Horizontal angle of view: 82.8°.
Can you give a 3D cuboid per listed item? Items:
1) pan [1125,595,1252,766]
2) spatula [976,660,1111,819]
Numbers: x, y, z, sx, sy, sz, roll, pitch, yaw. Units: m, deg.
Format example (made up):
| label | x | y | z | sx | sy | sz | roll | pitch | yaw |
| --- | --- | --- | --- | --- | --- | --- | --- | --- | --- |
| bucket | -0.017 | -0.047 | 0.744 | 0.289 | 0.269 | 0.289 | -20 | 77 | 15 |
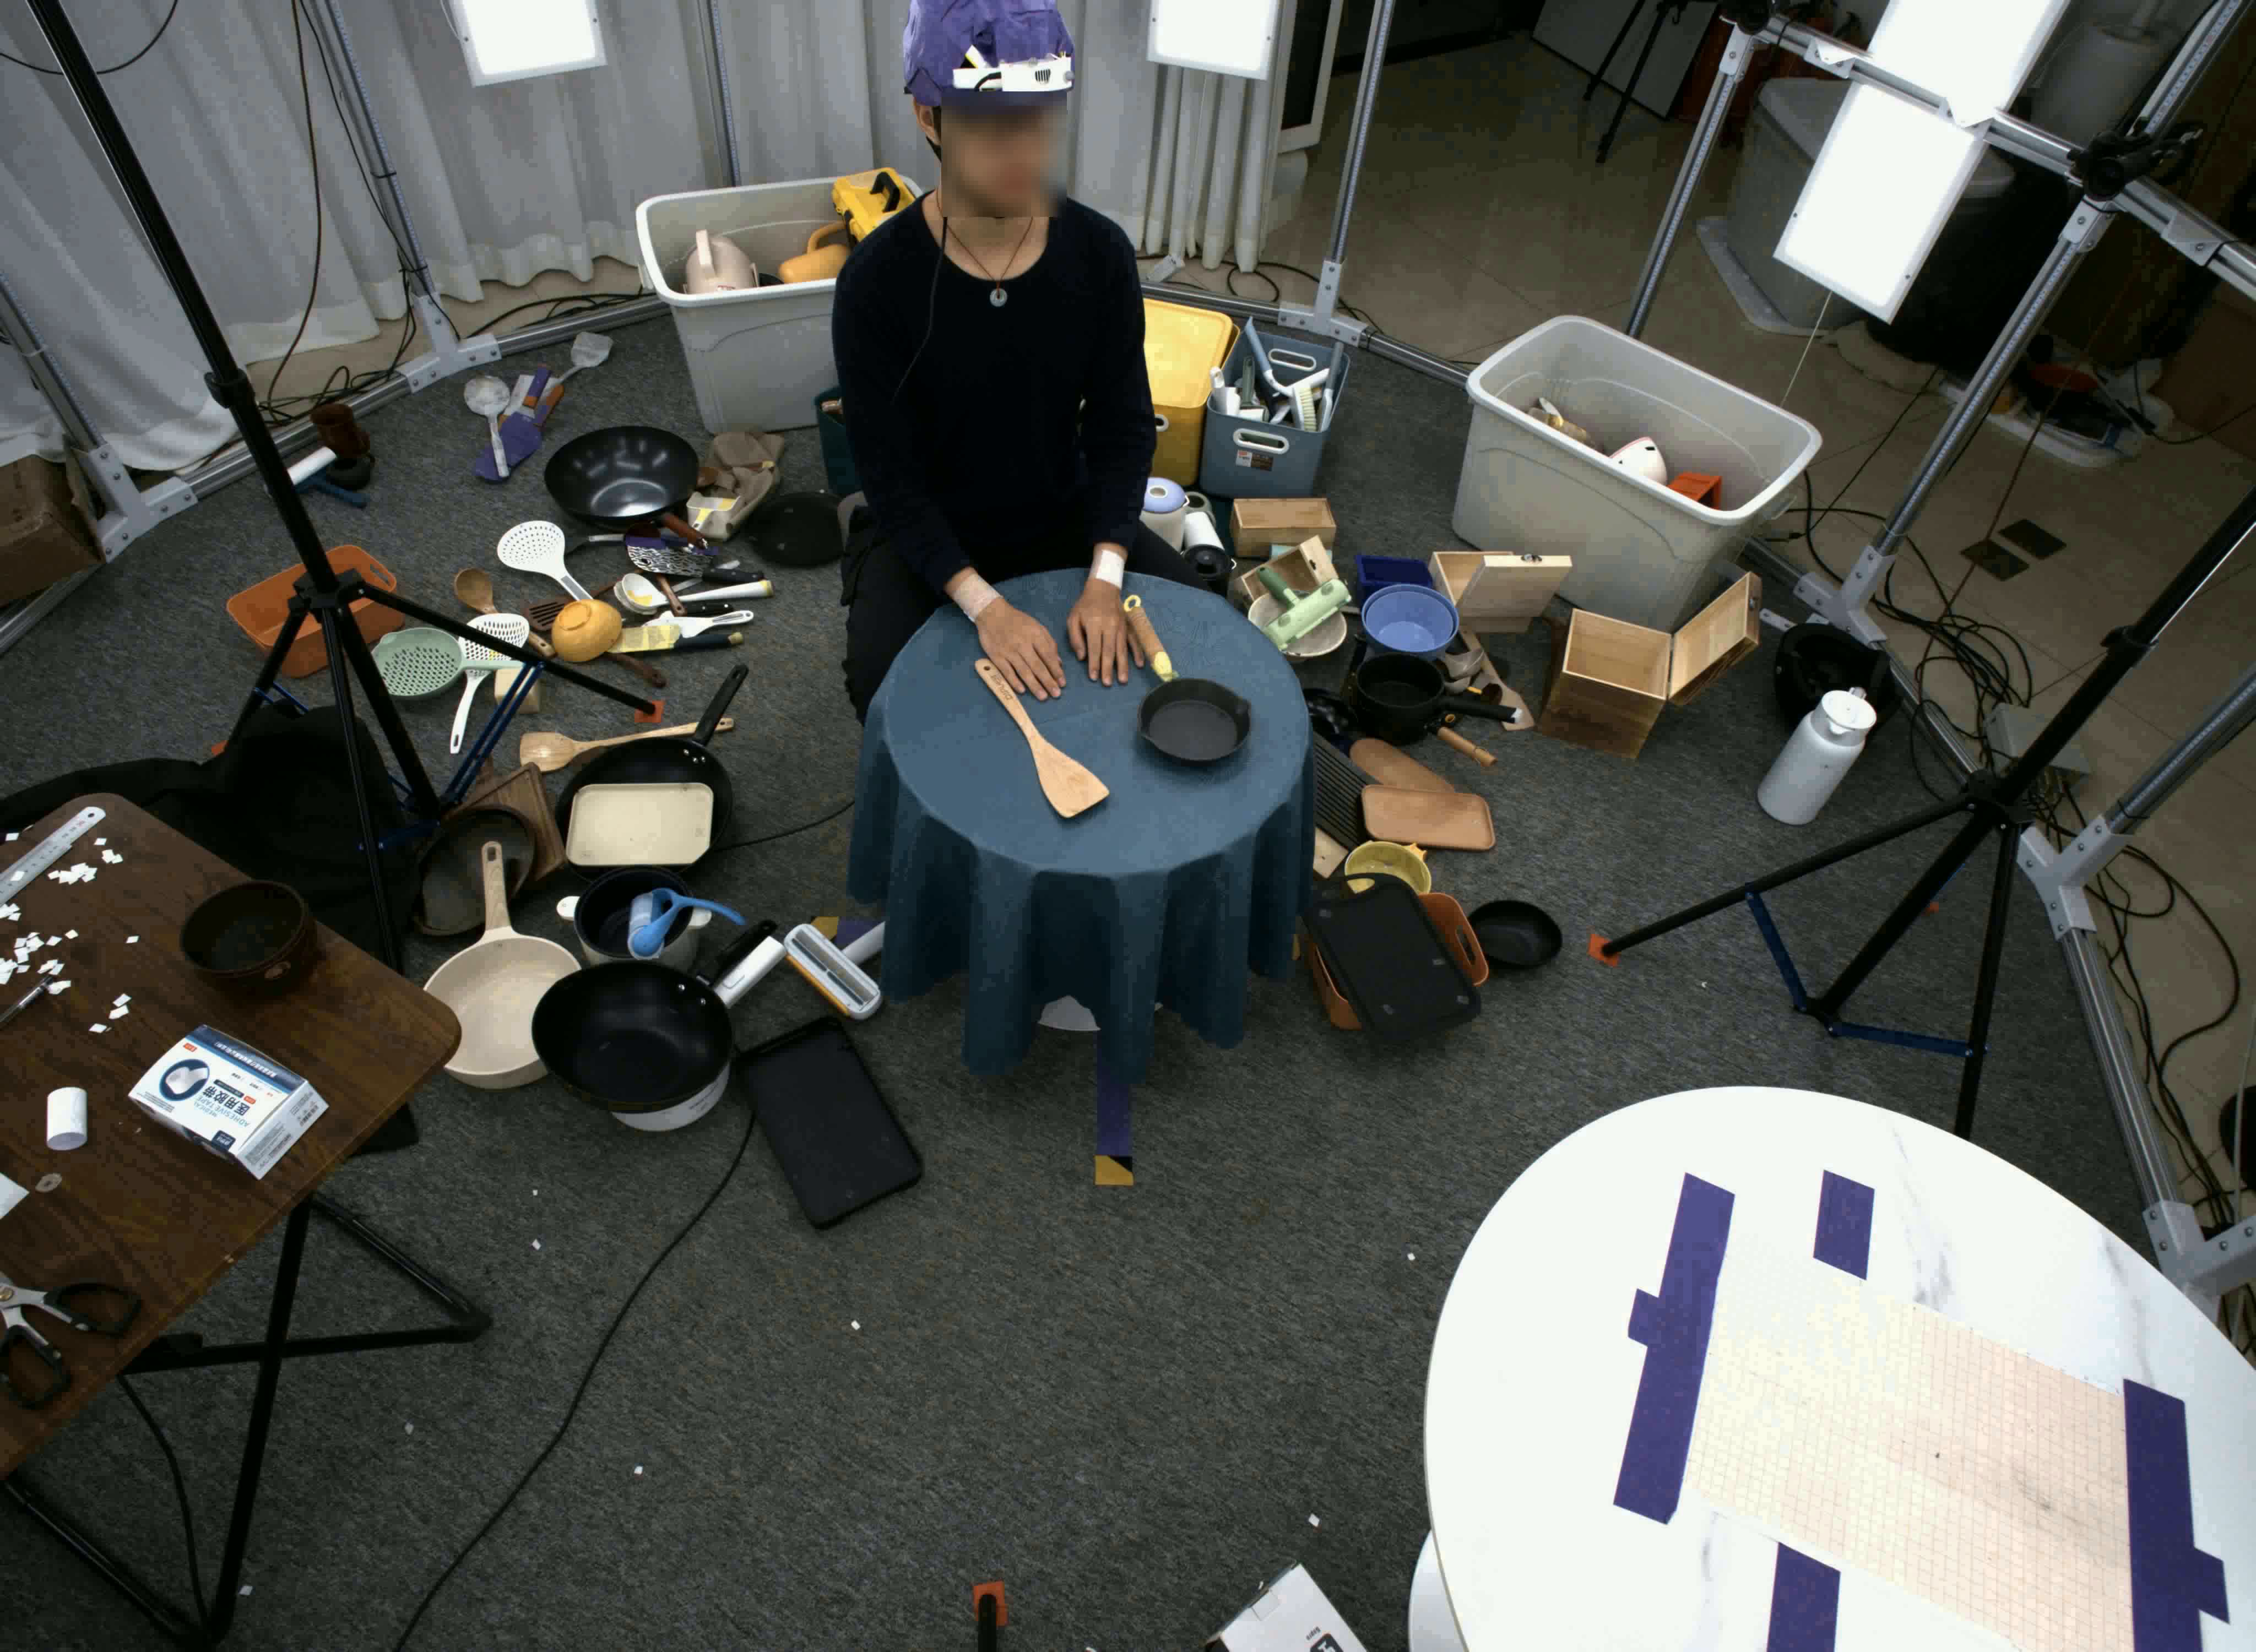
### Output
| label | x | y | z | sx | sy | sz | roll | pitch | yaw |
| --- | --- | --- | --- | --- | --- | --- | --- | --- | --- |
| pan | 0.062 | -0.208 | 1.820 | 0.169 | 0.048 | 0.332 | -14 | 53 | -15 |
| spatula | -0.129 | -0.129 | 1.761 | 0.080 | 0.016 | 0.334 | -21 | 54 | -22 |
